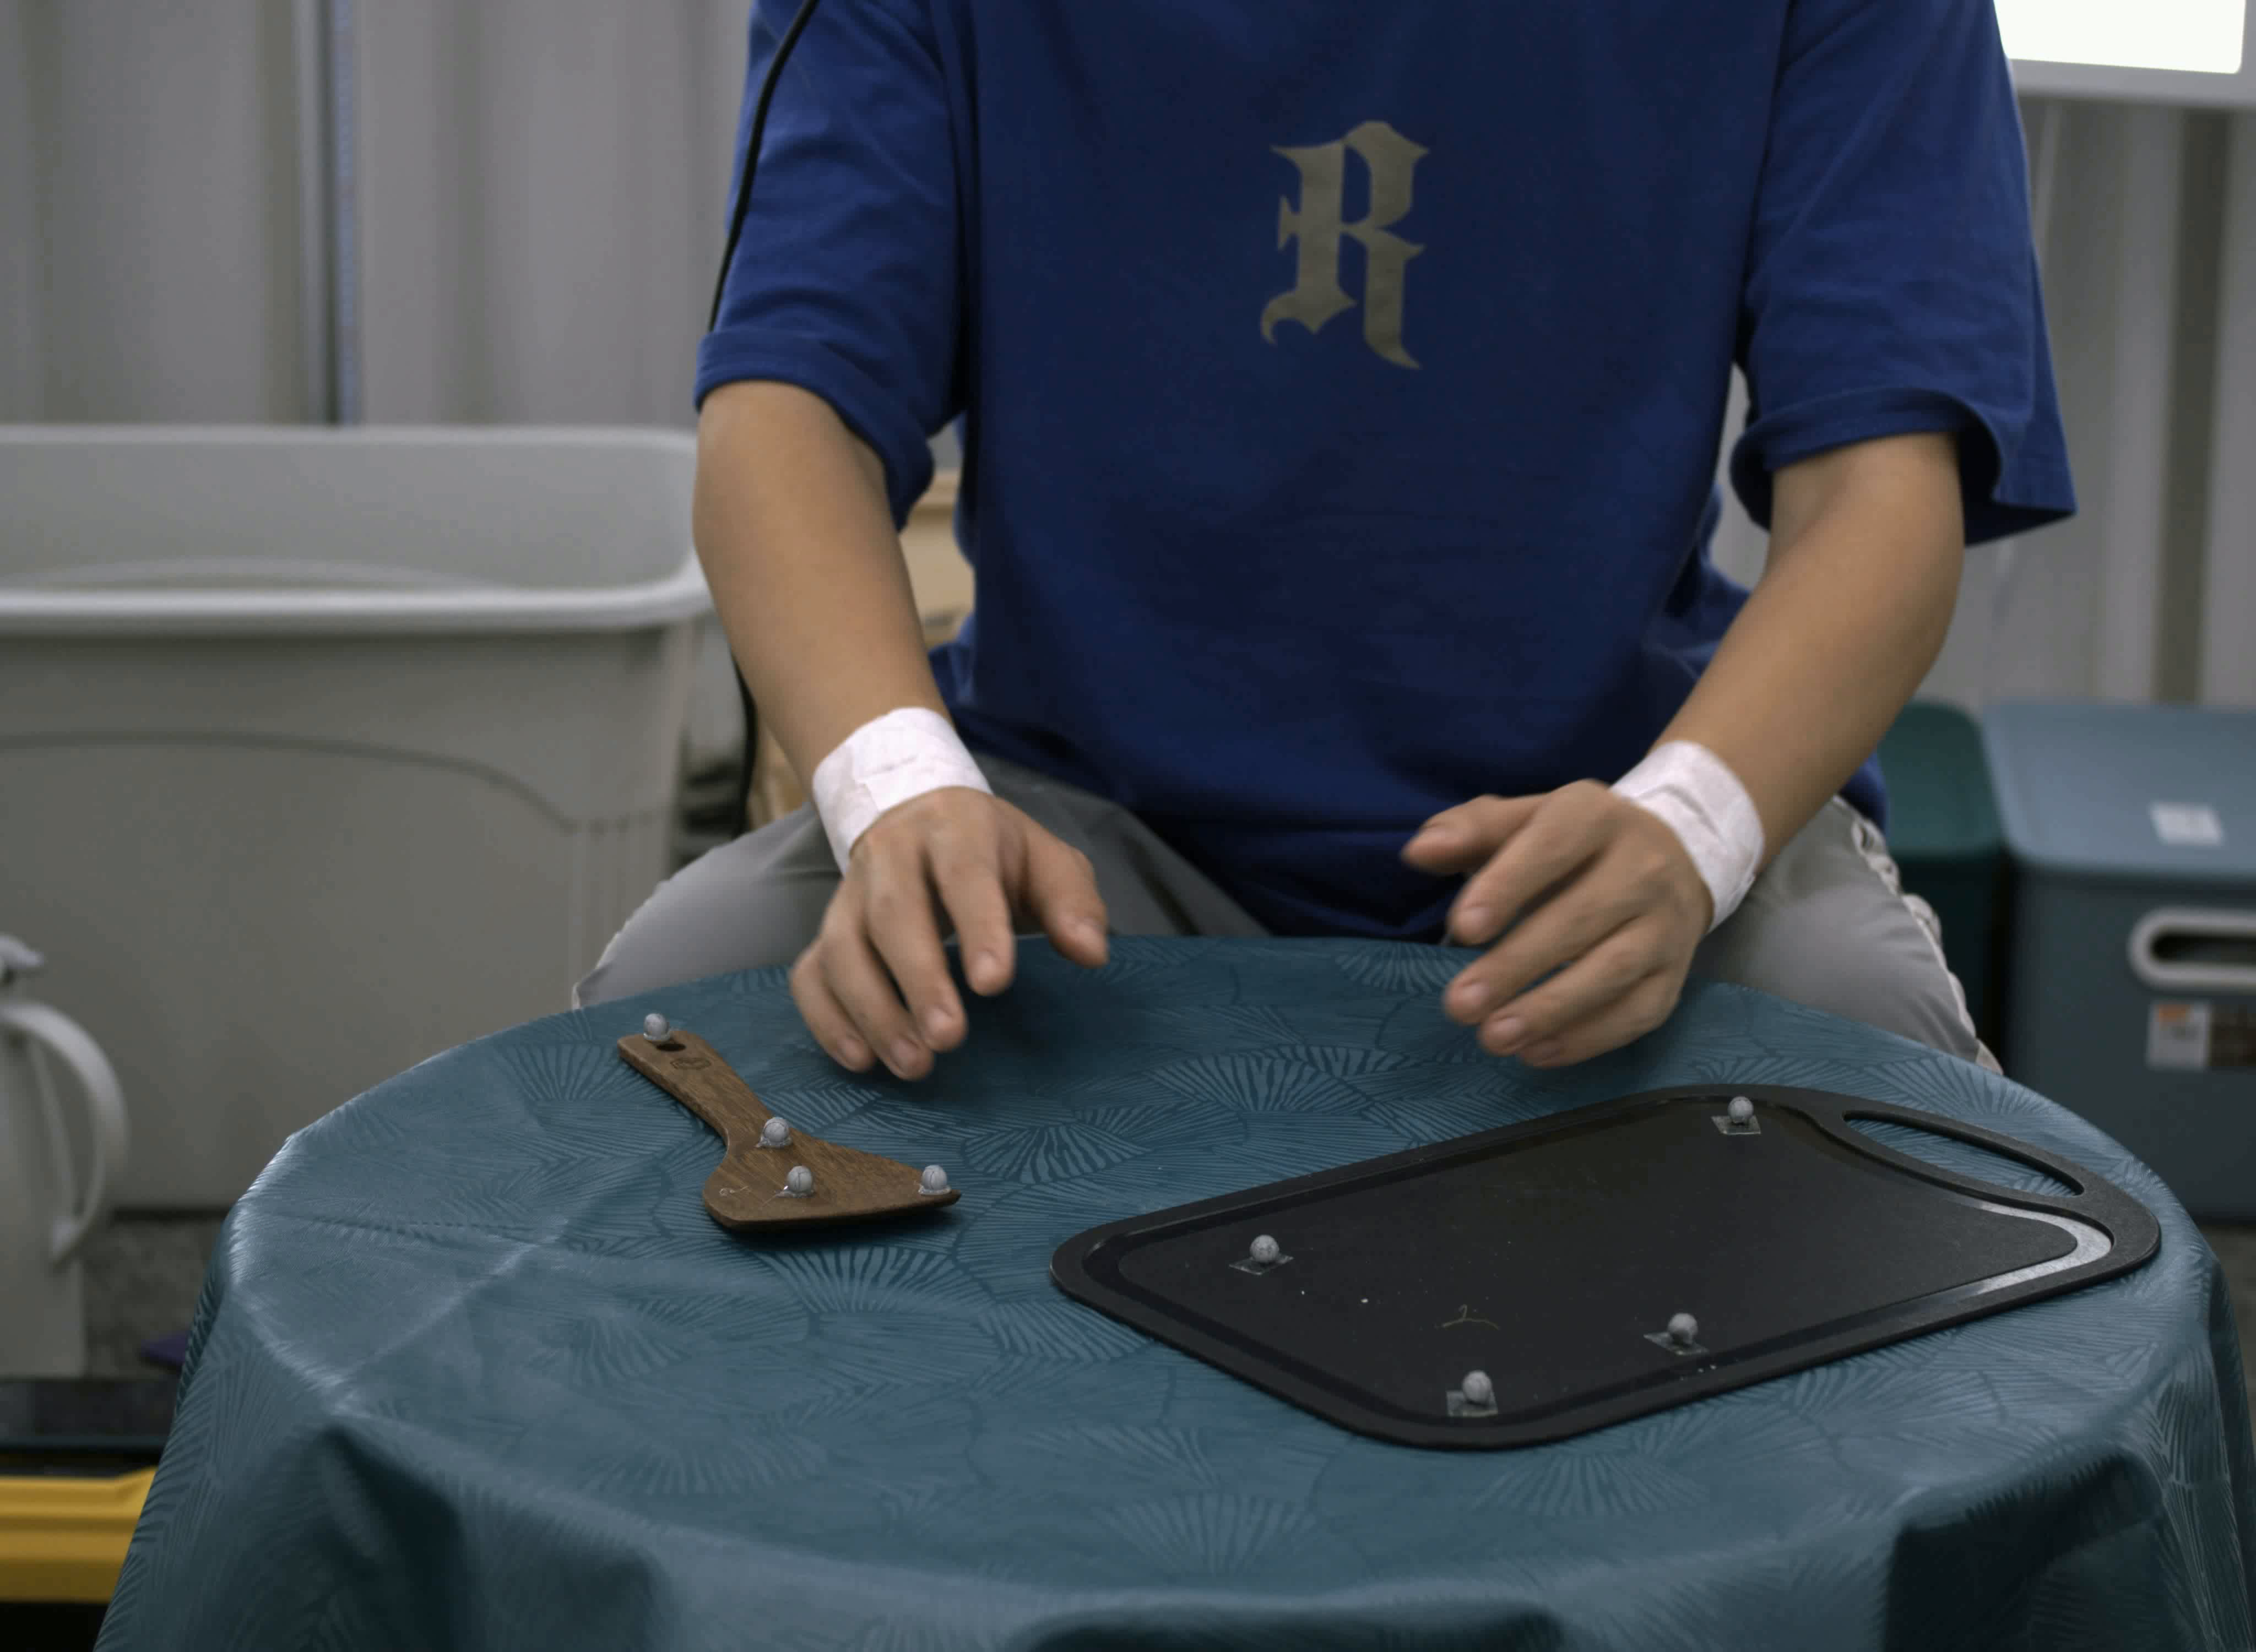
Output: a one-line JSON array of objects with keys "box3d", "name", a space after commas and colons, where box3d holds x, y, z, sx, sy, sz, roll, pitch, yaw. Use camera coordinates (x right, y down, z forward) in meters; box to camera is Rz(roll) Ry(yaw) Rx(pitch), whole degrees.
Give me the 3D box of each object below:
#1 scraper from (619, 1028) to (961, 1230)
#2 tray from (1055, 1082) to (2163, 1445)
[{"box3d": [-0.120, 0.095, 1.665, 0.076, 0.011, 0.209, -5, 16, -22], "name": "scraper"}, {"box3d": [0.151, 0.123, 1.578, 0.327, 0.010, 0.208, -11, 19, -35], "name": "tray"}]
